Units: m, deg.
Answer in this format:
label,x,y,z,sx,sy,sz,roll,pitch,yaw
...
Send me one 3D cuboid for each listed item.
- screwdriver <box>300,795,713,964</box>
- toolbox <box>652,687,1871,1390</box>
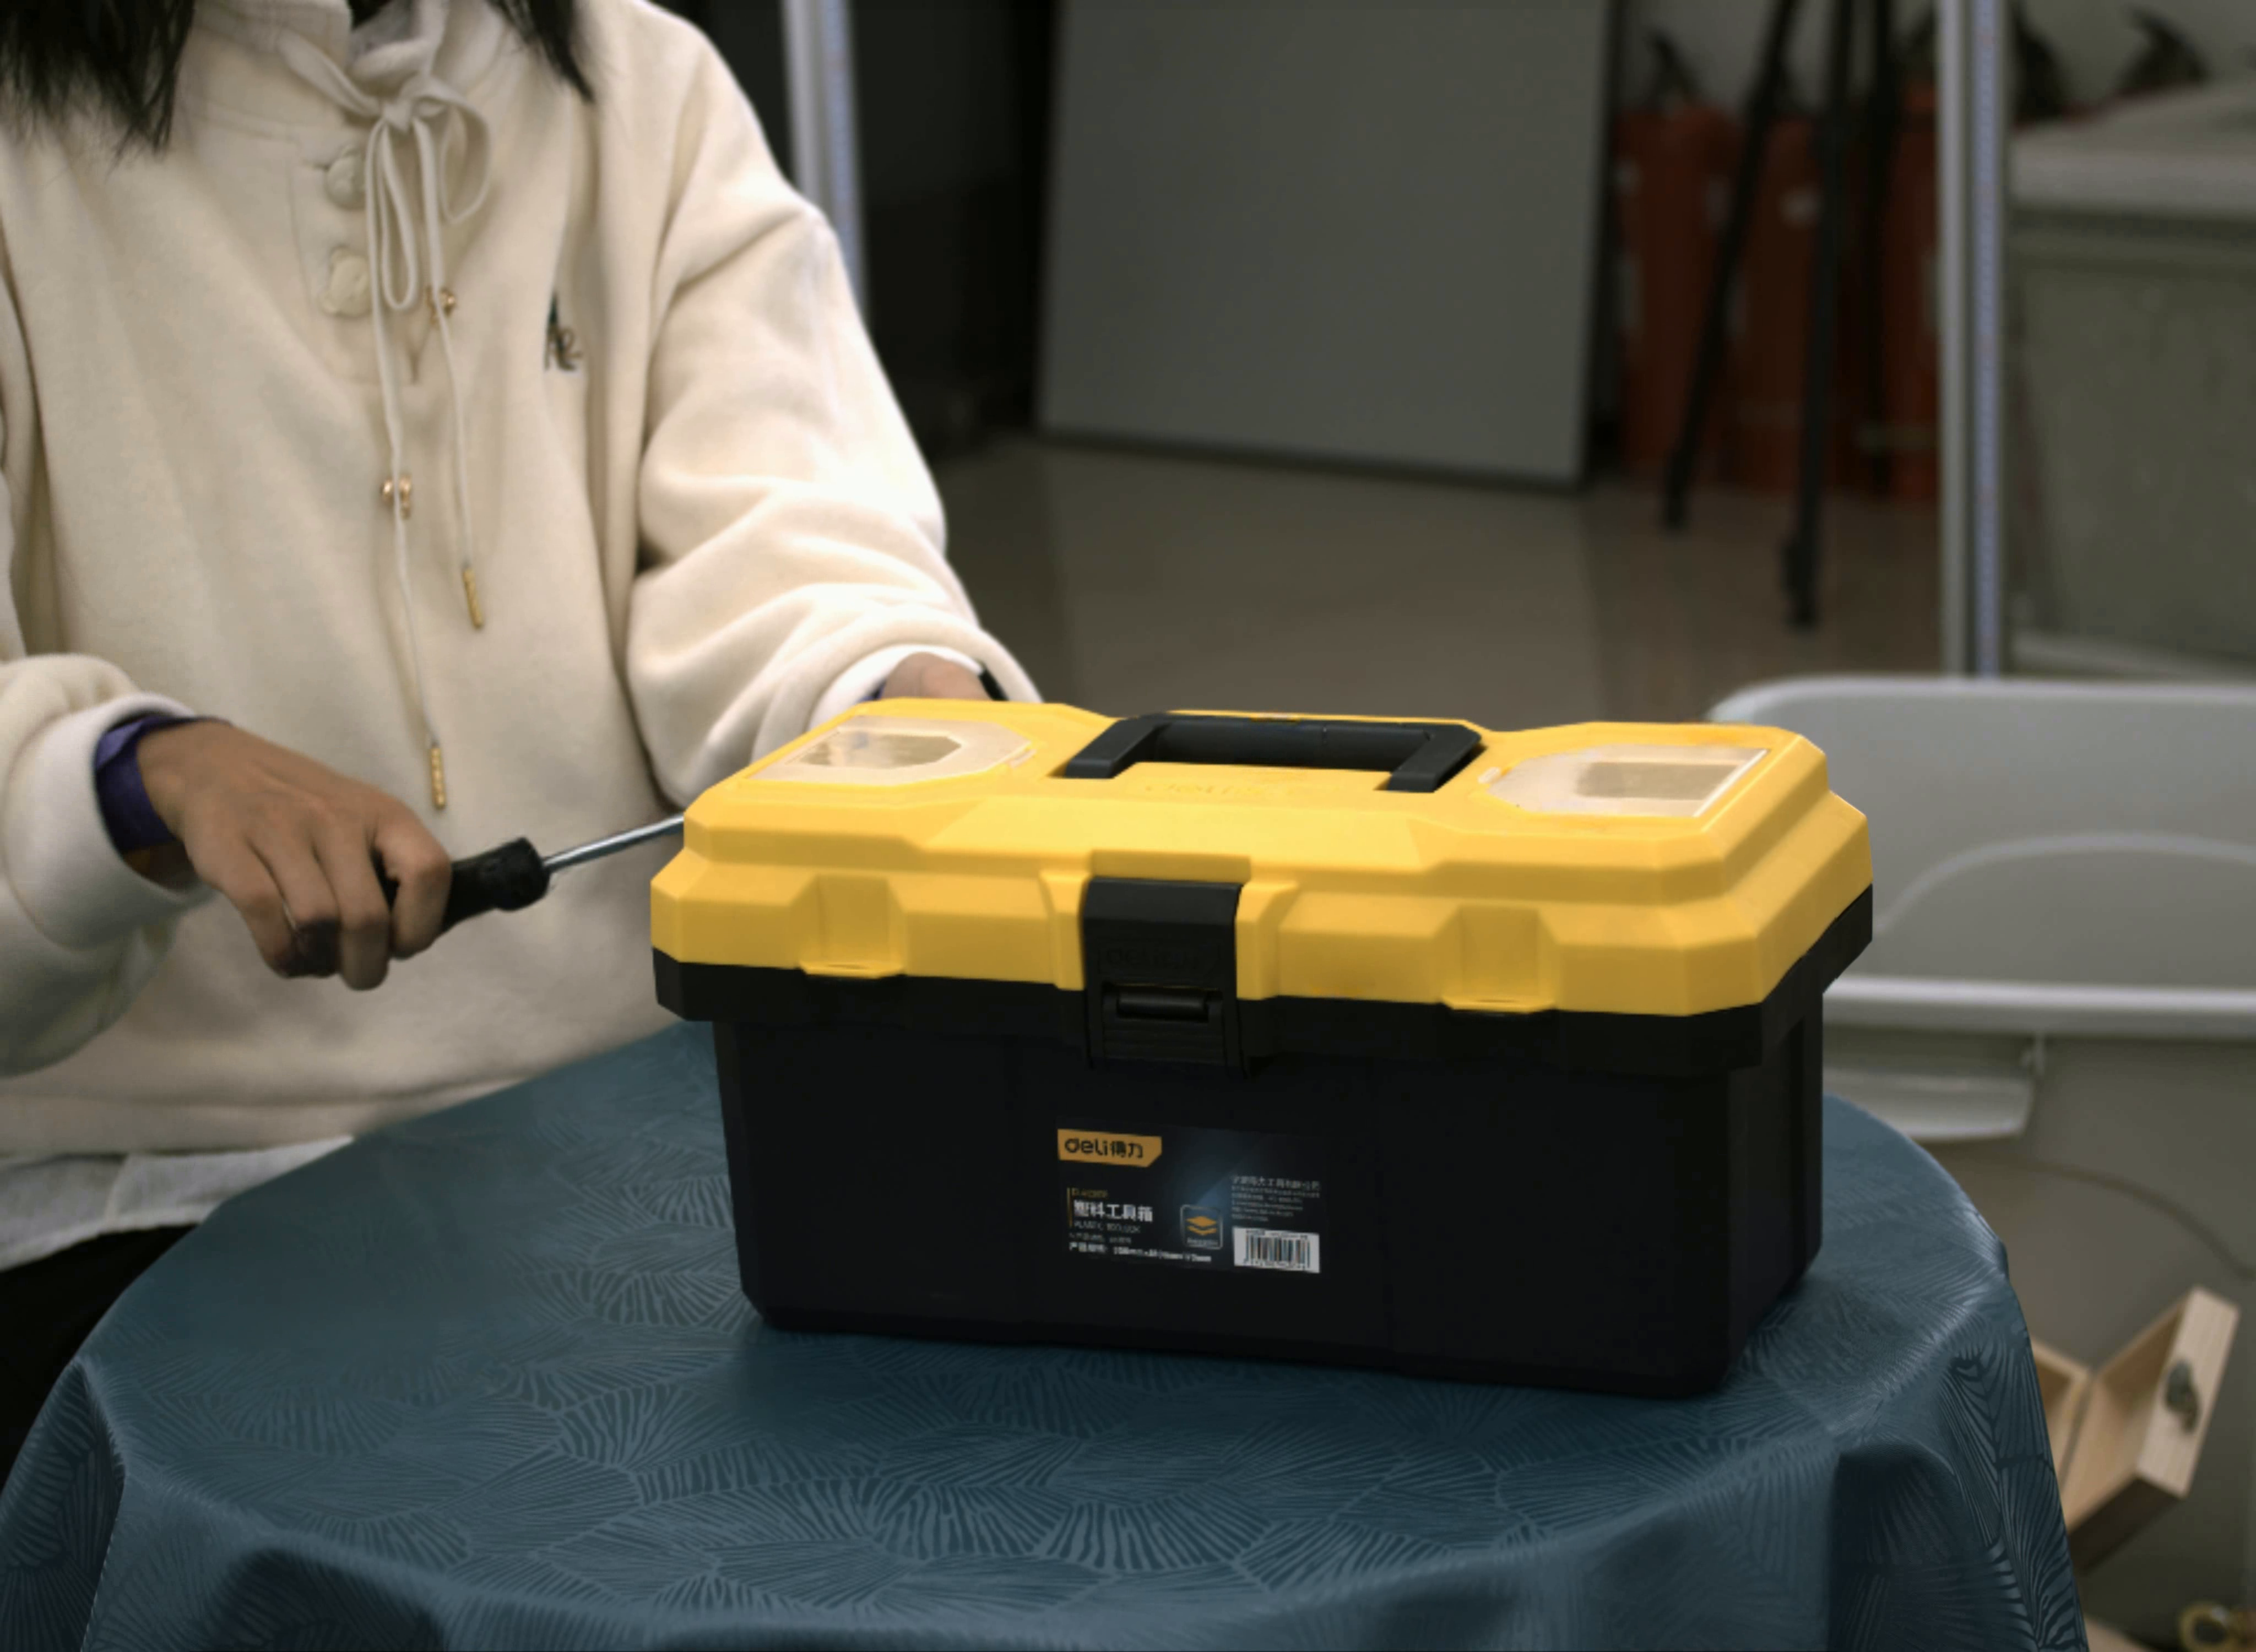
label,x,y,z,sx,sy,sz,roll,pitch,yaw
screwdriver,-0.194,0.010,1.740,0.197,0.032,0.031,-20,1,37
toolbox,0.041,0.061,1.637,0.351,0.175,0.179,2,14,23
